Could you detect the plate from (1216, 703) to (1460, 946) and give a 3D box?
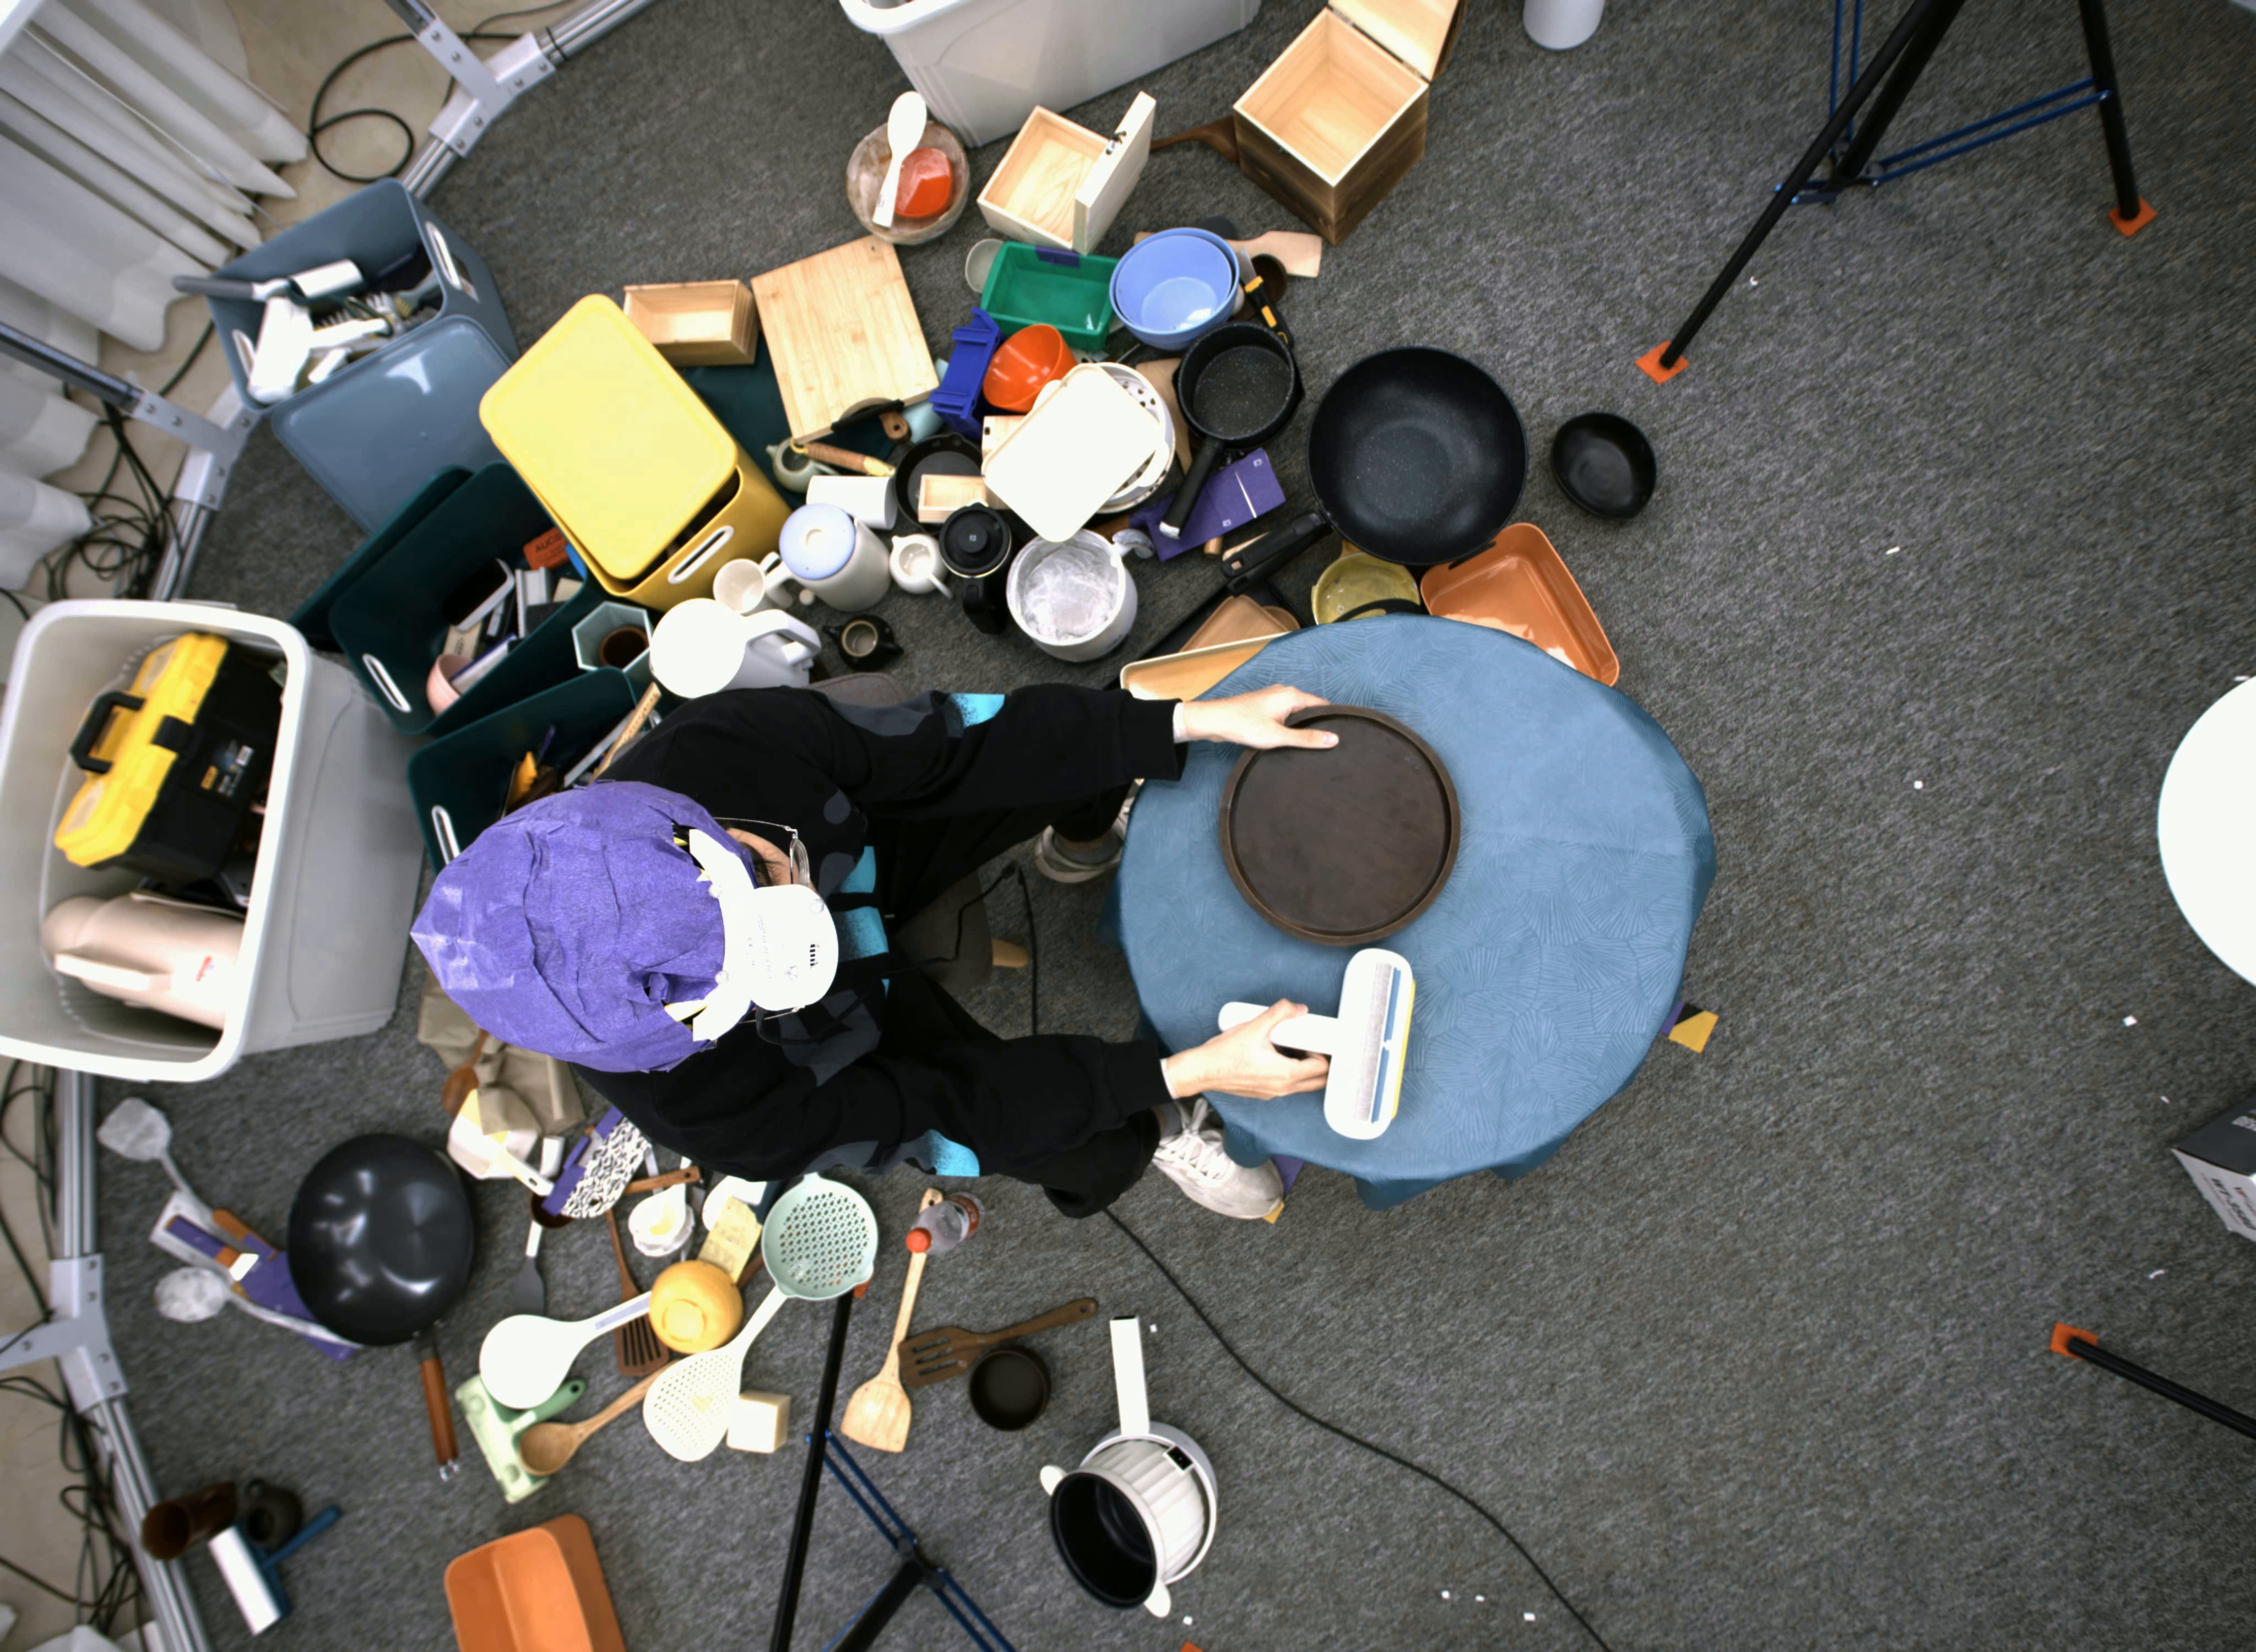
[{"bbox_3d":[0.219,-0.003,1.441,0.255,0.029,0.255,0,92,4],"label":"plate"}]

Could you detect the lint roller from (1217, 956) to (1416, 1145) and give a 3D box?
[{"bbox_3d":[0.186,0.213,1.419,0.192,0.074,0.191,15,84,1],"label":"lint roller"}]
